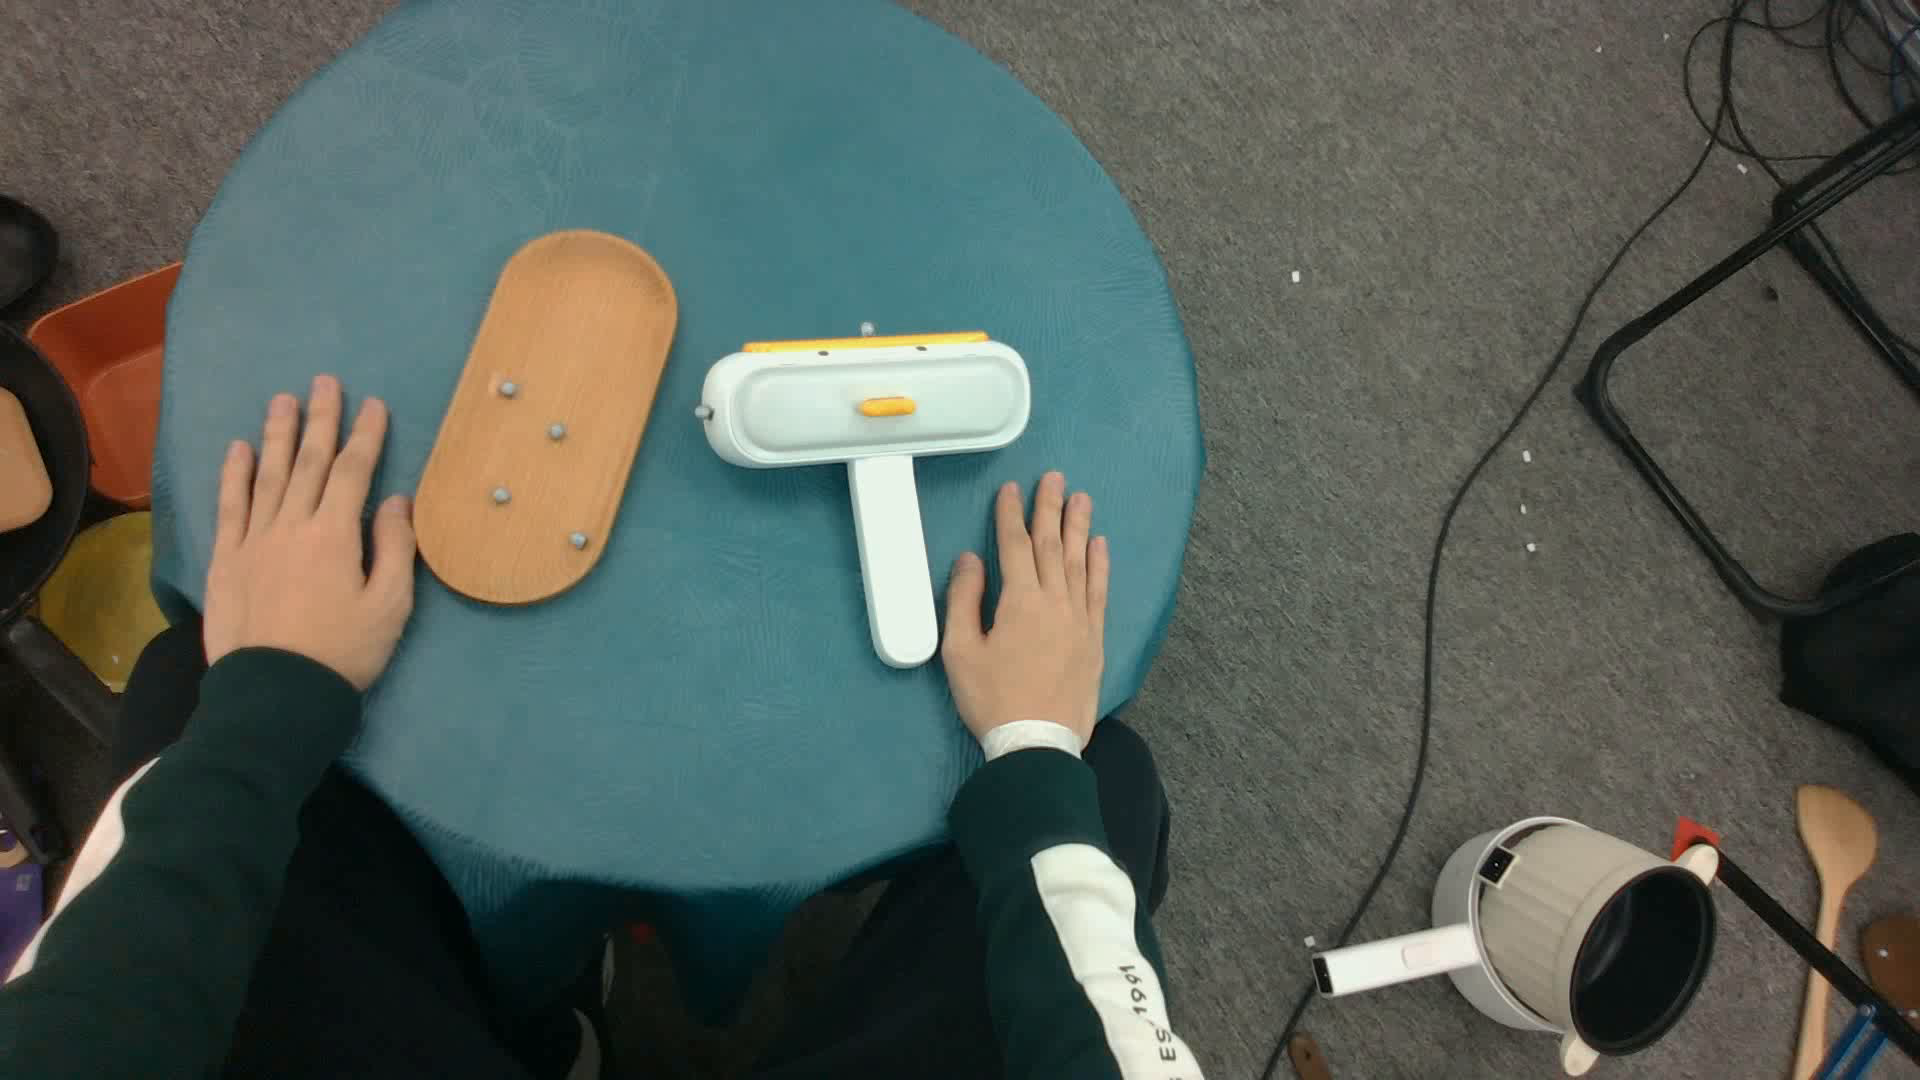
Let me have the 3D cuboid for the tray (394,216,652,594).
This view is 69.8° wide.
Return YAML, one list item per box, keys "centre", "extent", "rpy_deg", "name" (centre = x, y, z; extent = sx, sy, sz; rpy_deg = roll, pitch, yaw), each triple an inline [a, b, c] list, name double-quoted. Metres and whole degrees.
- centre: [-0.241, -0.079, 0.769]
  extent: [0.102, 0.020, 0.232]
  rpy_deg: [15, 67, -11]
  name: "tray"

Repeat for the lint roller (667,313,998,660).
- centre: [-0.057, -0.028, 0.783]
  extent: [0.193, 0.074, 0.192]
  rpy_deg: [-11, 94, -24]
  name: "lint roller"
